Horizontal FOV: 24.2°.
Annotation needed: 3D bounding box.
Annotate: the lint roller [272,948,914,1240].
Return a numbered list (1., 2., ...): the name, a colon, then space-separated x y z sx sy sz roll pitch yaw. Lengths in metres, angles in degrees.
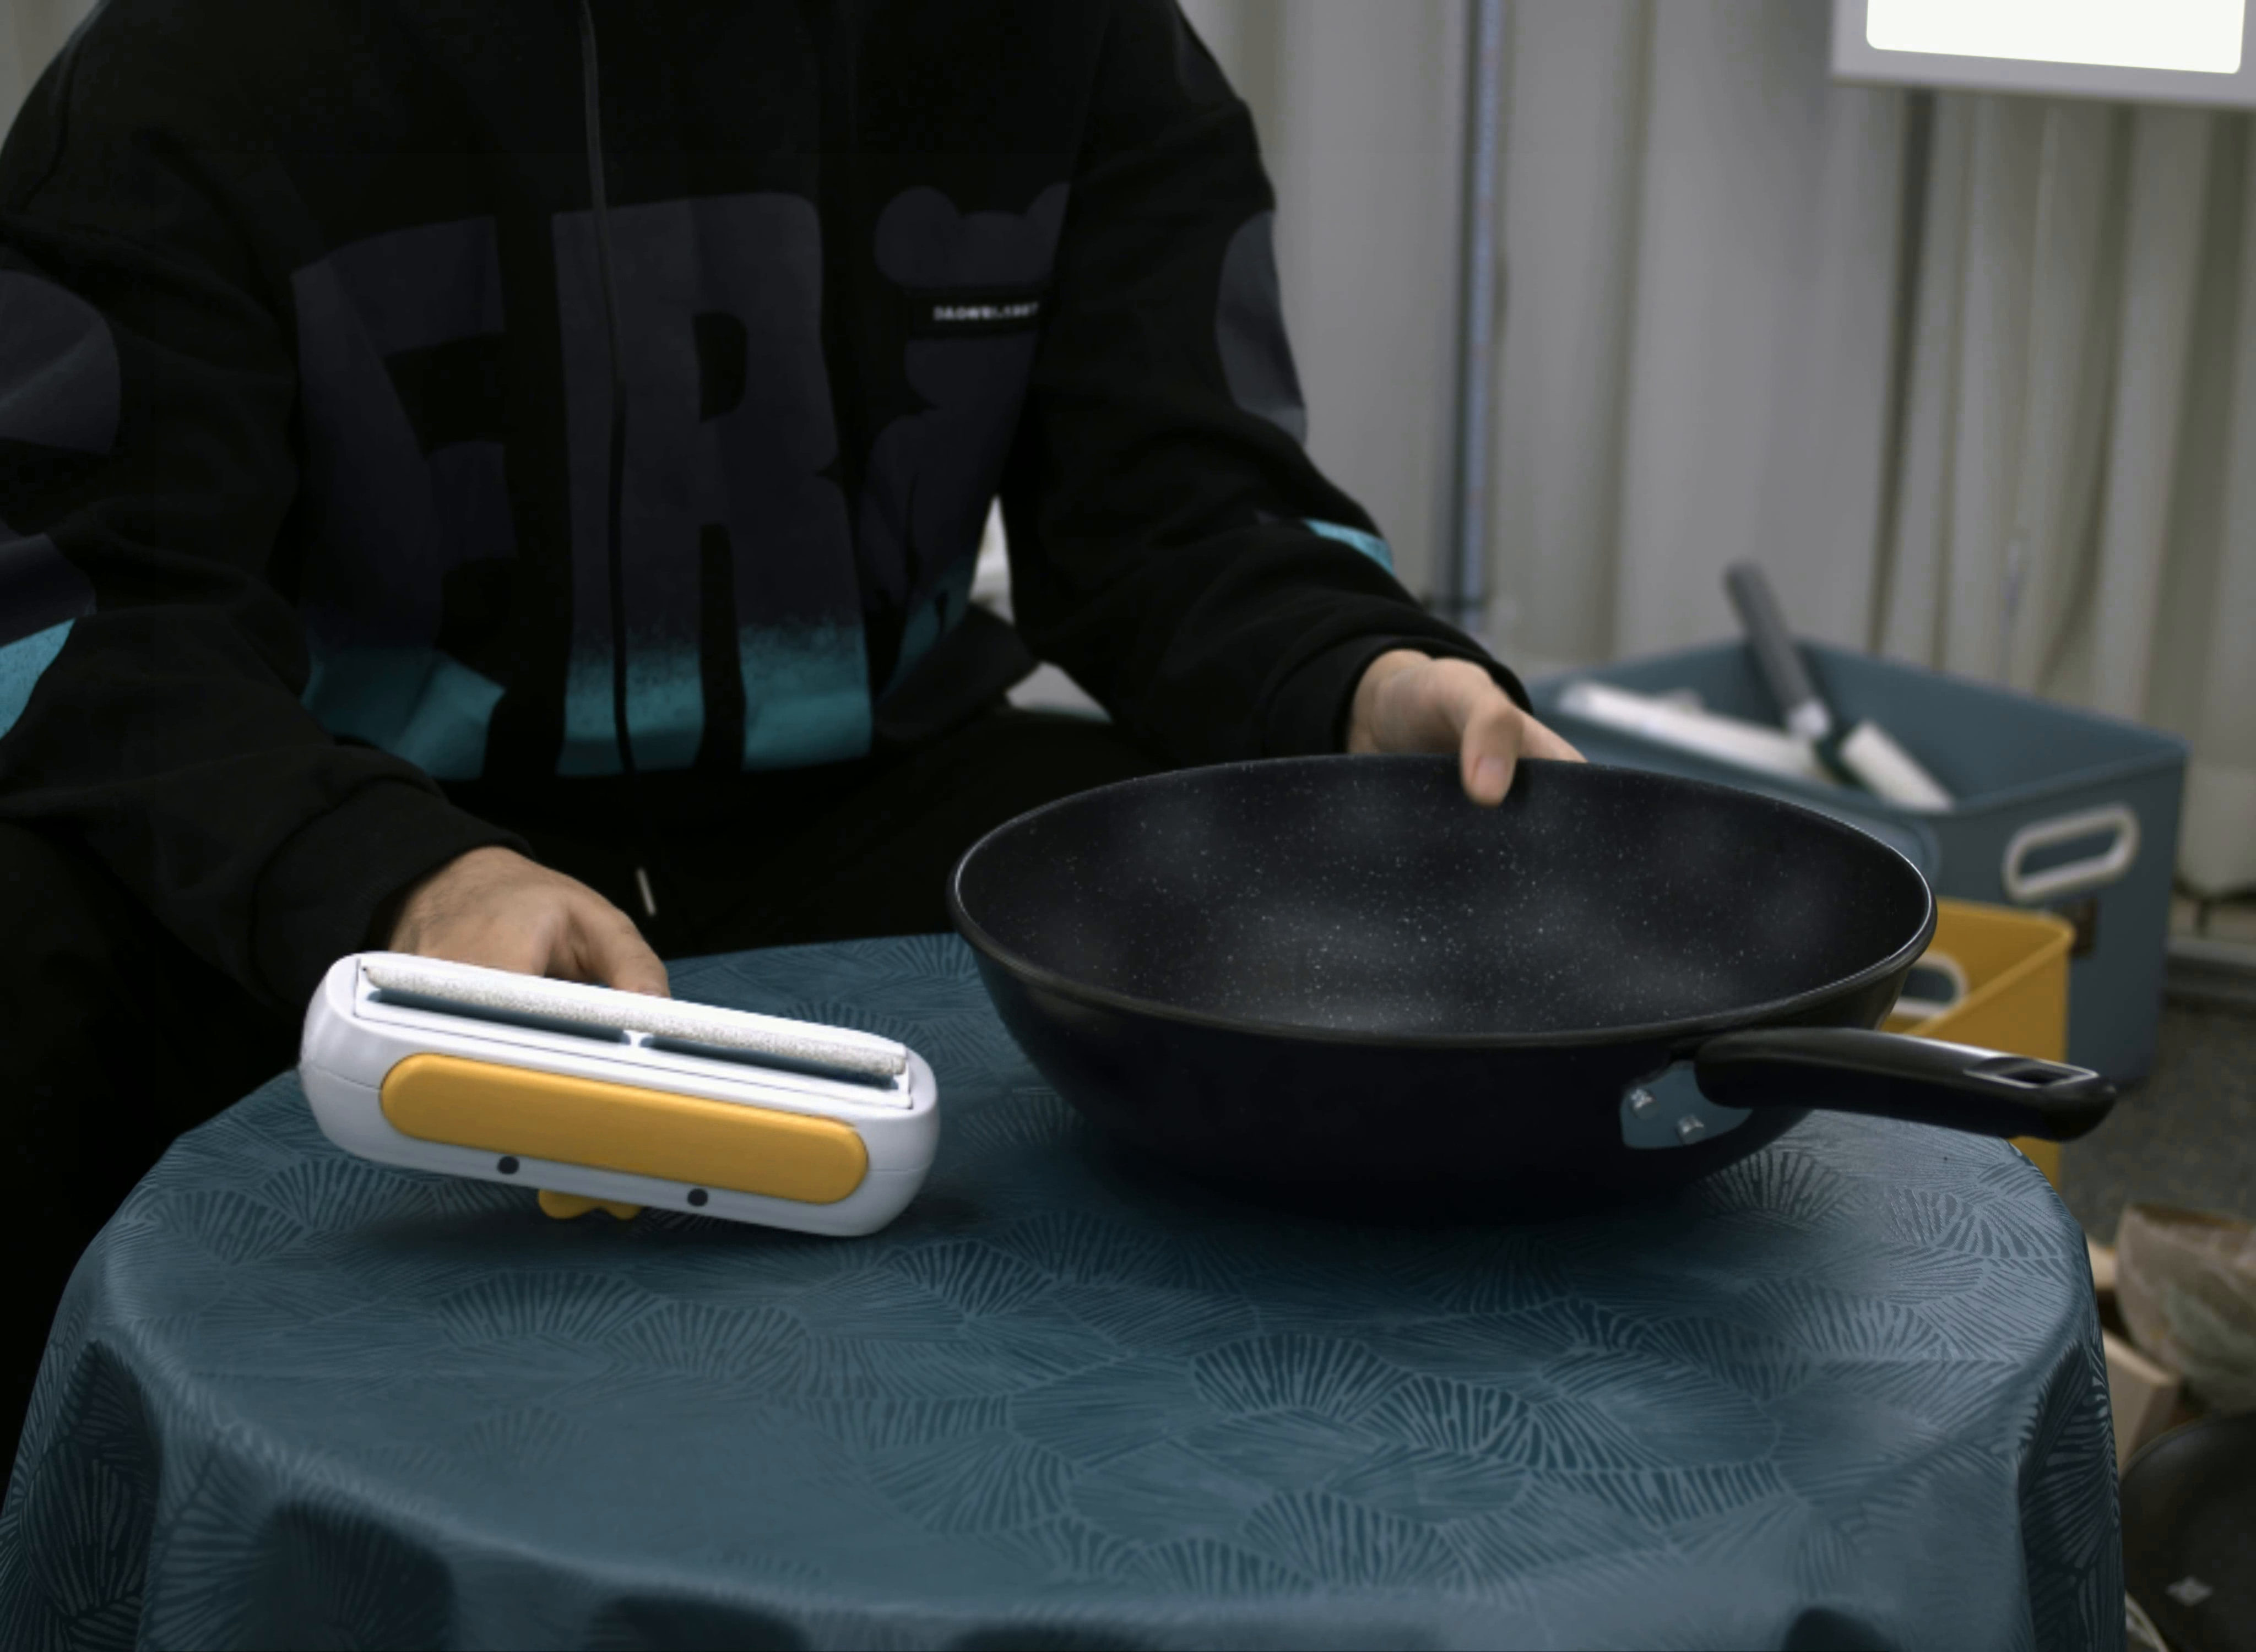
1. lint roller: -0.164 0.073 1.631 0.193 0.074 0.191 7 13 -6

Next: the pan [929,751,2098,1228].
1. pan: 0.133 0.066 1.588 0.311 0.112 0.471 -10 19 -28
